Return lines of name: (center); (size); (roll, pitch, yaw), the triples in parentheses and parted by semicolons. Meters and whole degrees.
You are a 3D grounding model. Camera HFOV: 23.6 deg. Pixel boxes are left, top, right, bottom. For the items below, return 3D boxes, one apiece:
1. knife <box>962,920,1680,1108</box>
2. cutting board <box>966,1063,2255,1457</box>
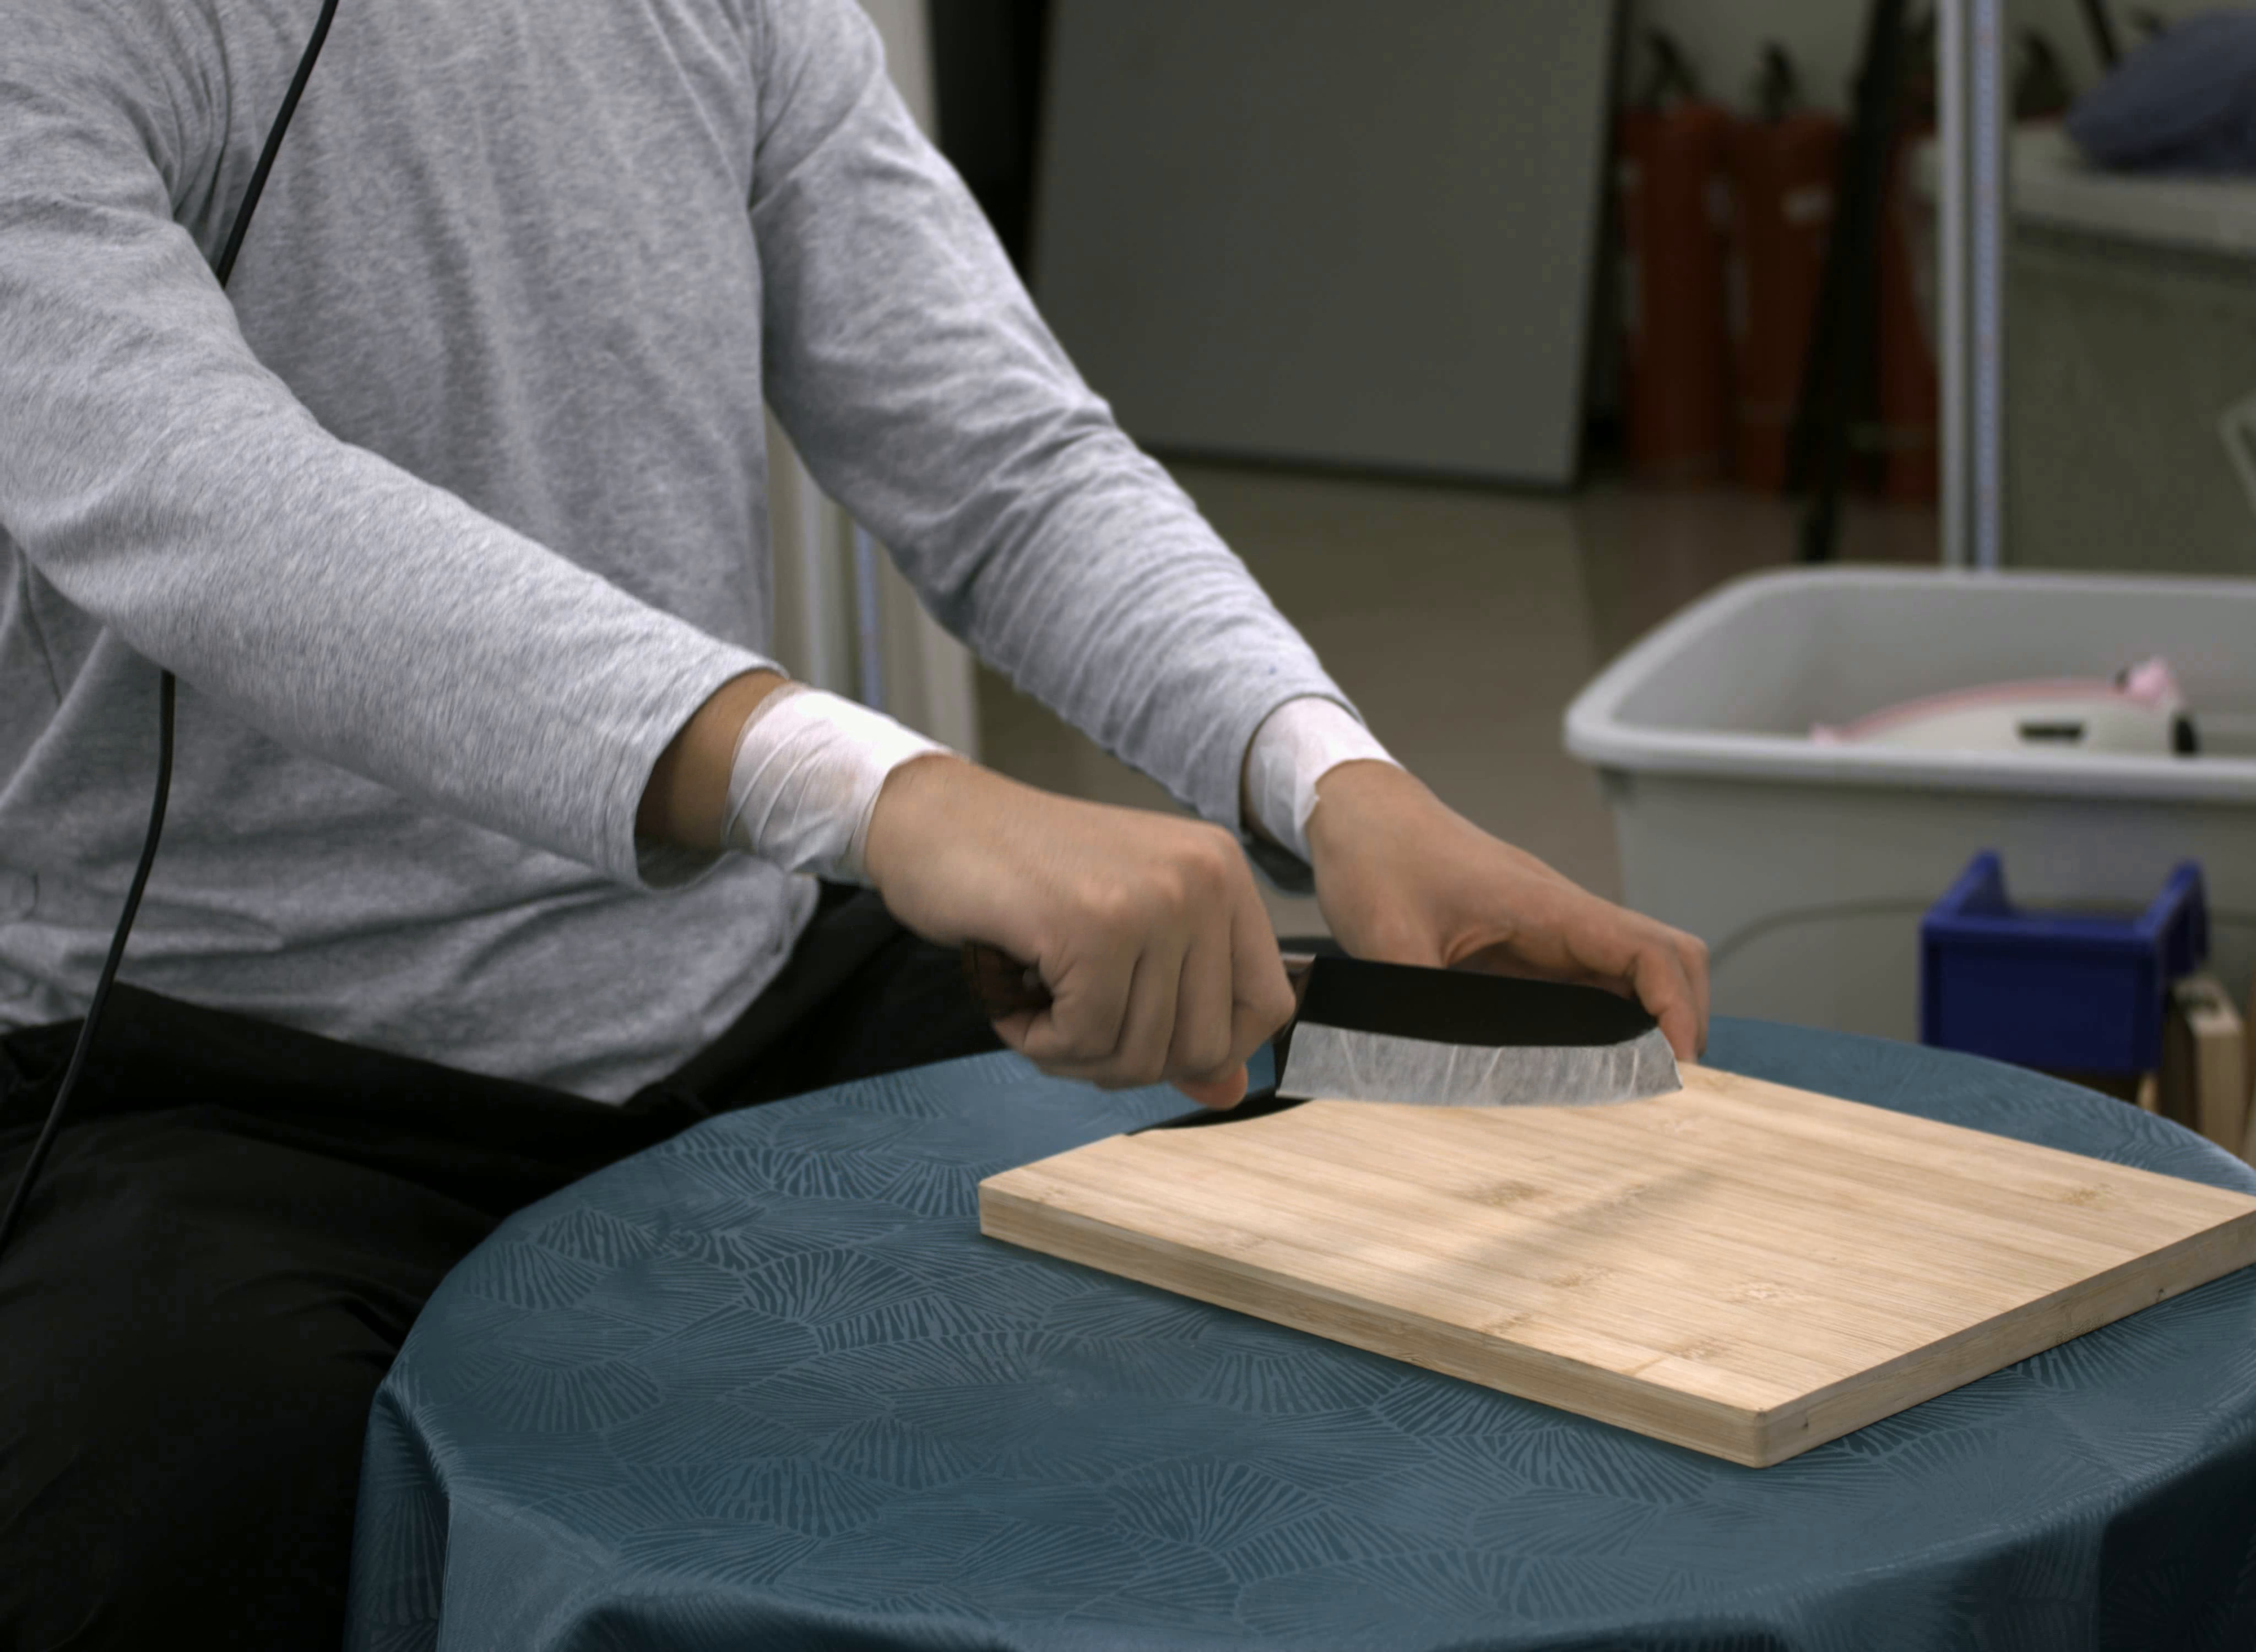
knife: (0.065, 0.058, 1.624); (0.282, 0.051, 0.020); (10, 6, -37)
cutting board: (0.147, 0.123, 1.691); (0.245, 0.024, 0.352); (-15, 17, -39)
